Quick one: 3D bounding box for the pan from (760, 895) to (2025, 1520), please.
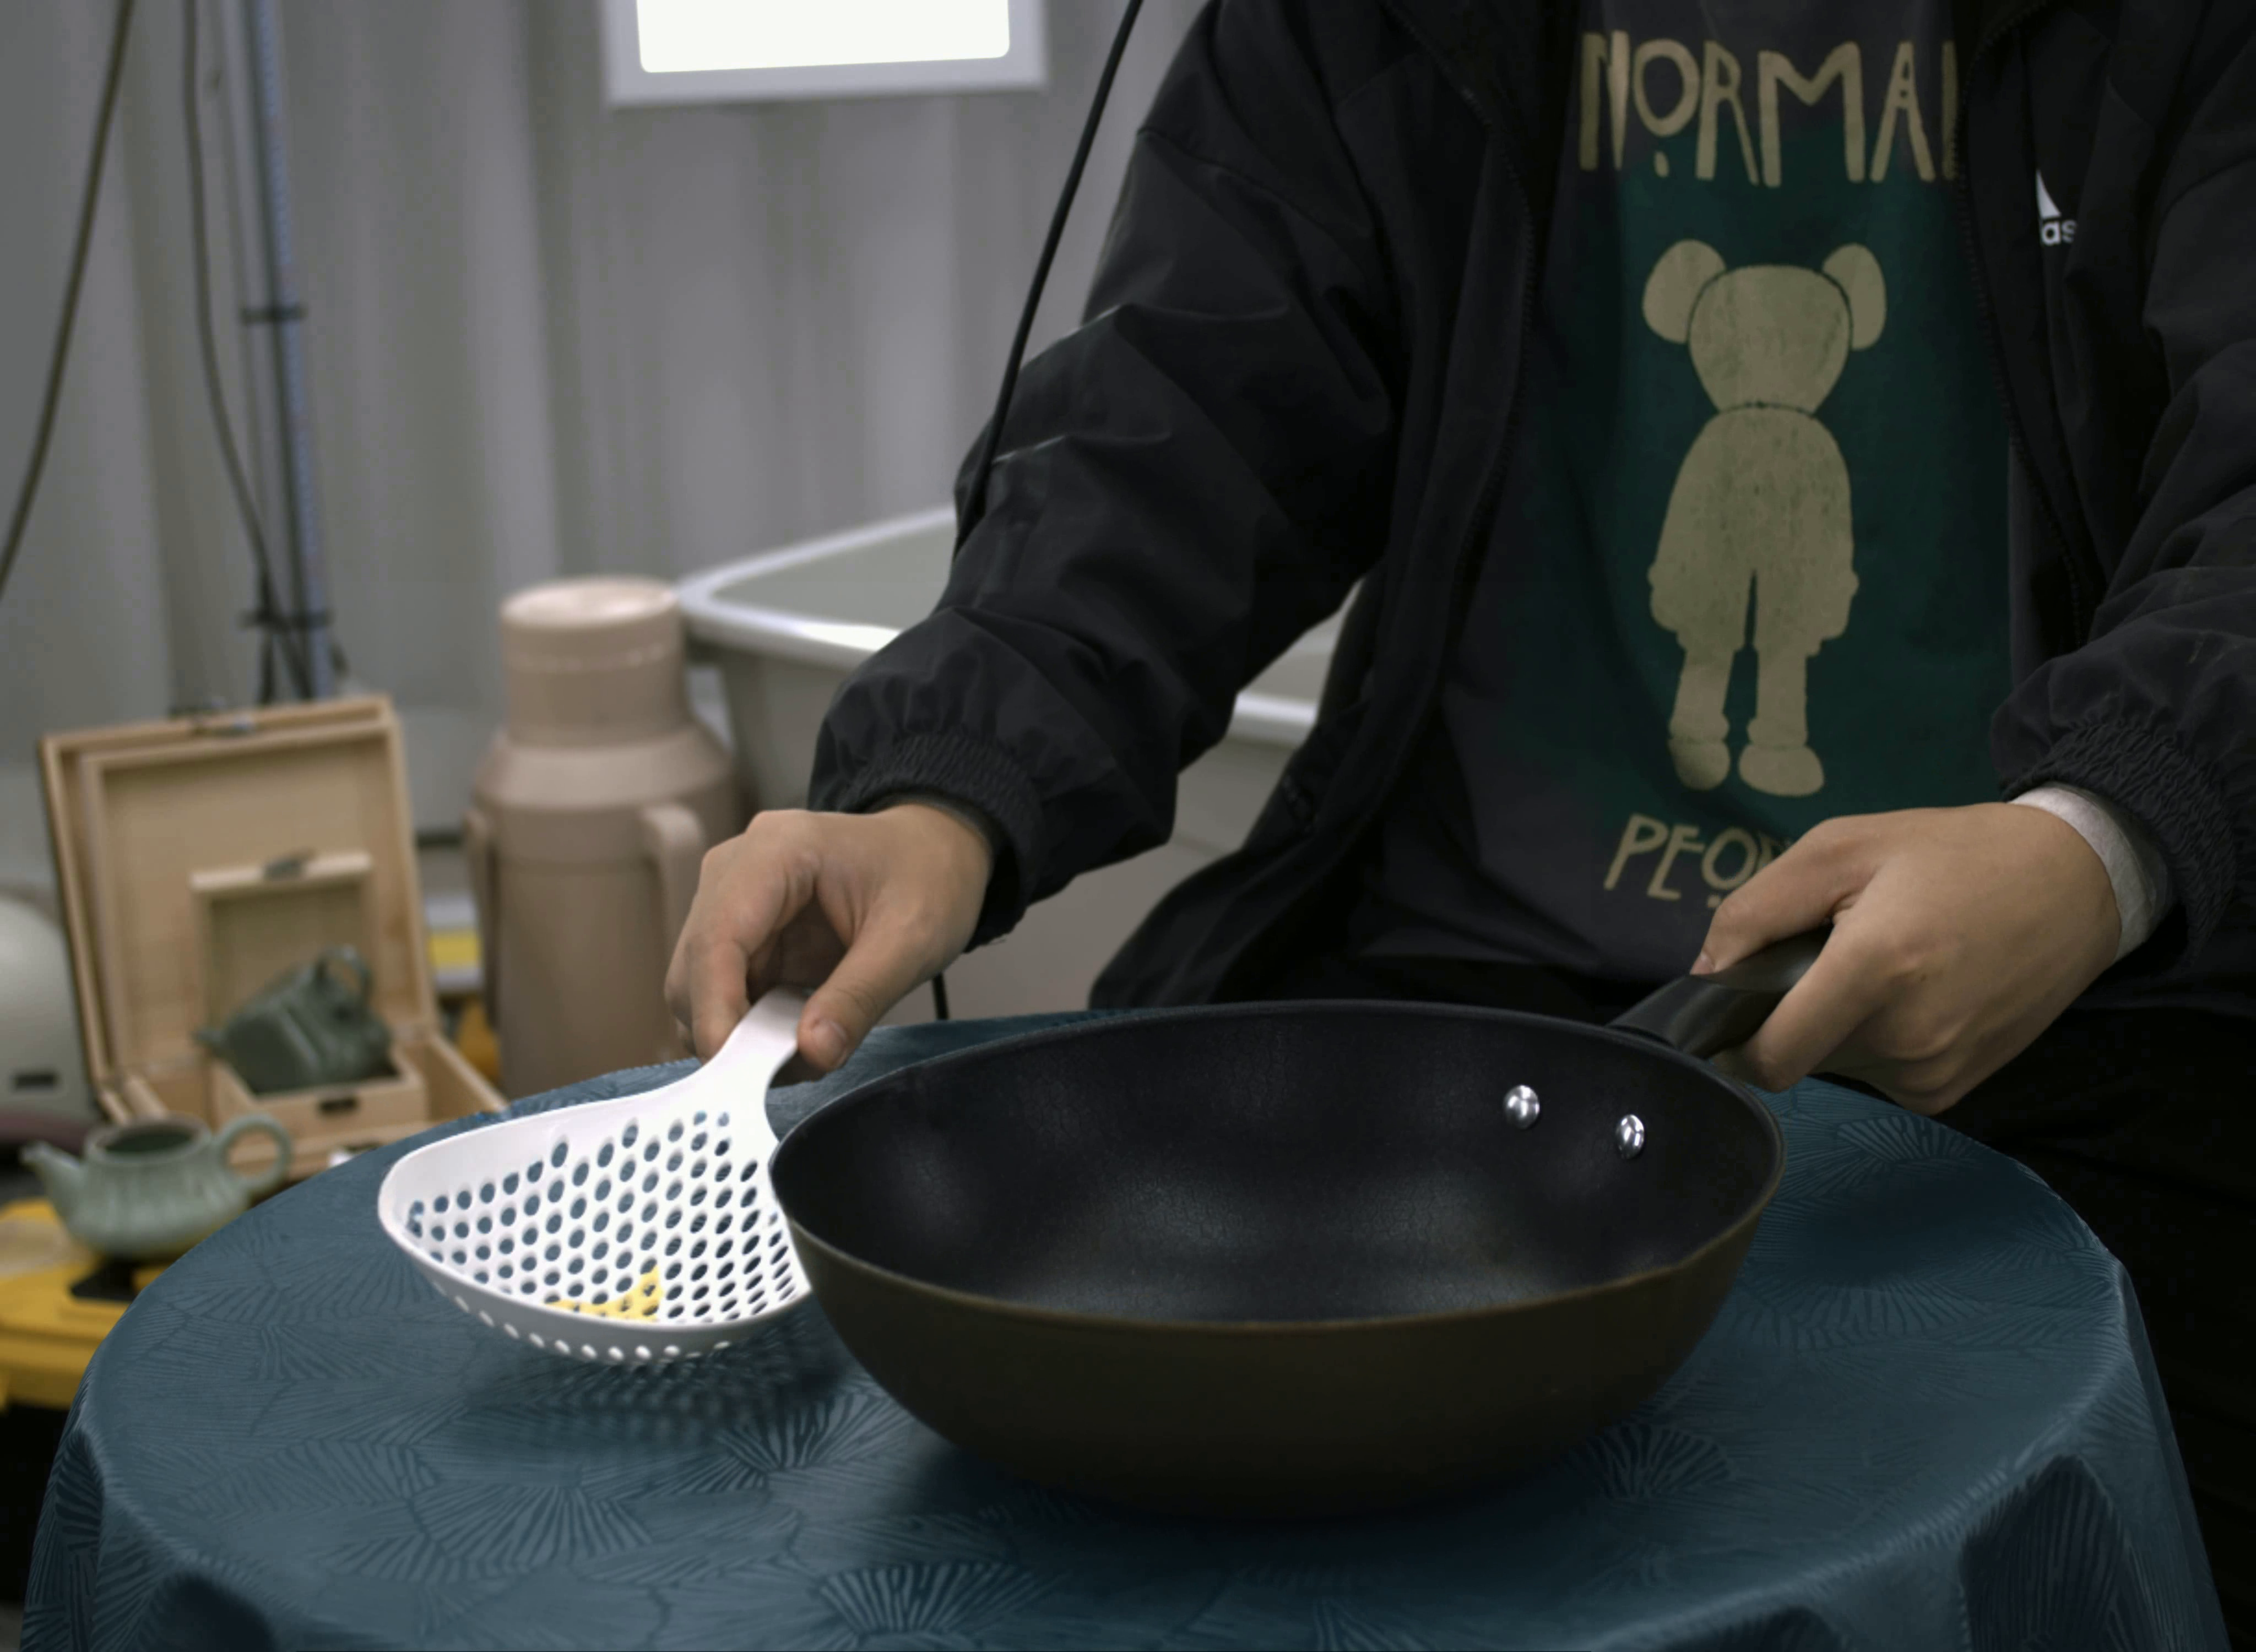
[{"bbox_3d":[0.104,0.105,1.568,0.290,0.086,0.462,12,21,43],"label":"pan"}]

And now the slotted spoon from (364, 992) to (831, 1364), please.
[{"bbox_3d":[-0.132,0.096,1.695,0.137,0.050,0.350,12,21,8],"label":"slotted spoon"}]
